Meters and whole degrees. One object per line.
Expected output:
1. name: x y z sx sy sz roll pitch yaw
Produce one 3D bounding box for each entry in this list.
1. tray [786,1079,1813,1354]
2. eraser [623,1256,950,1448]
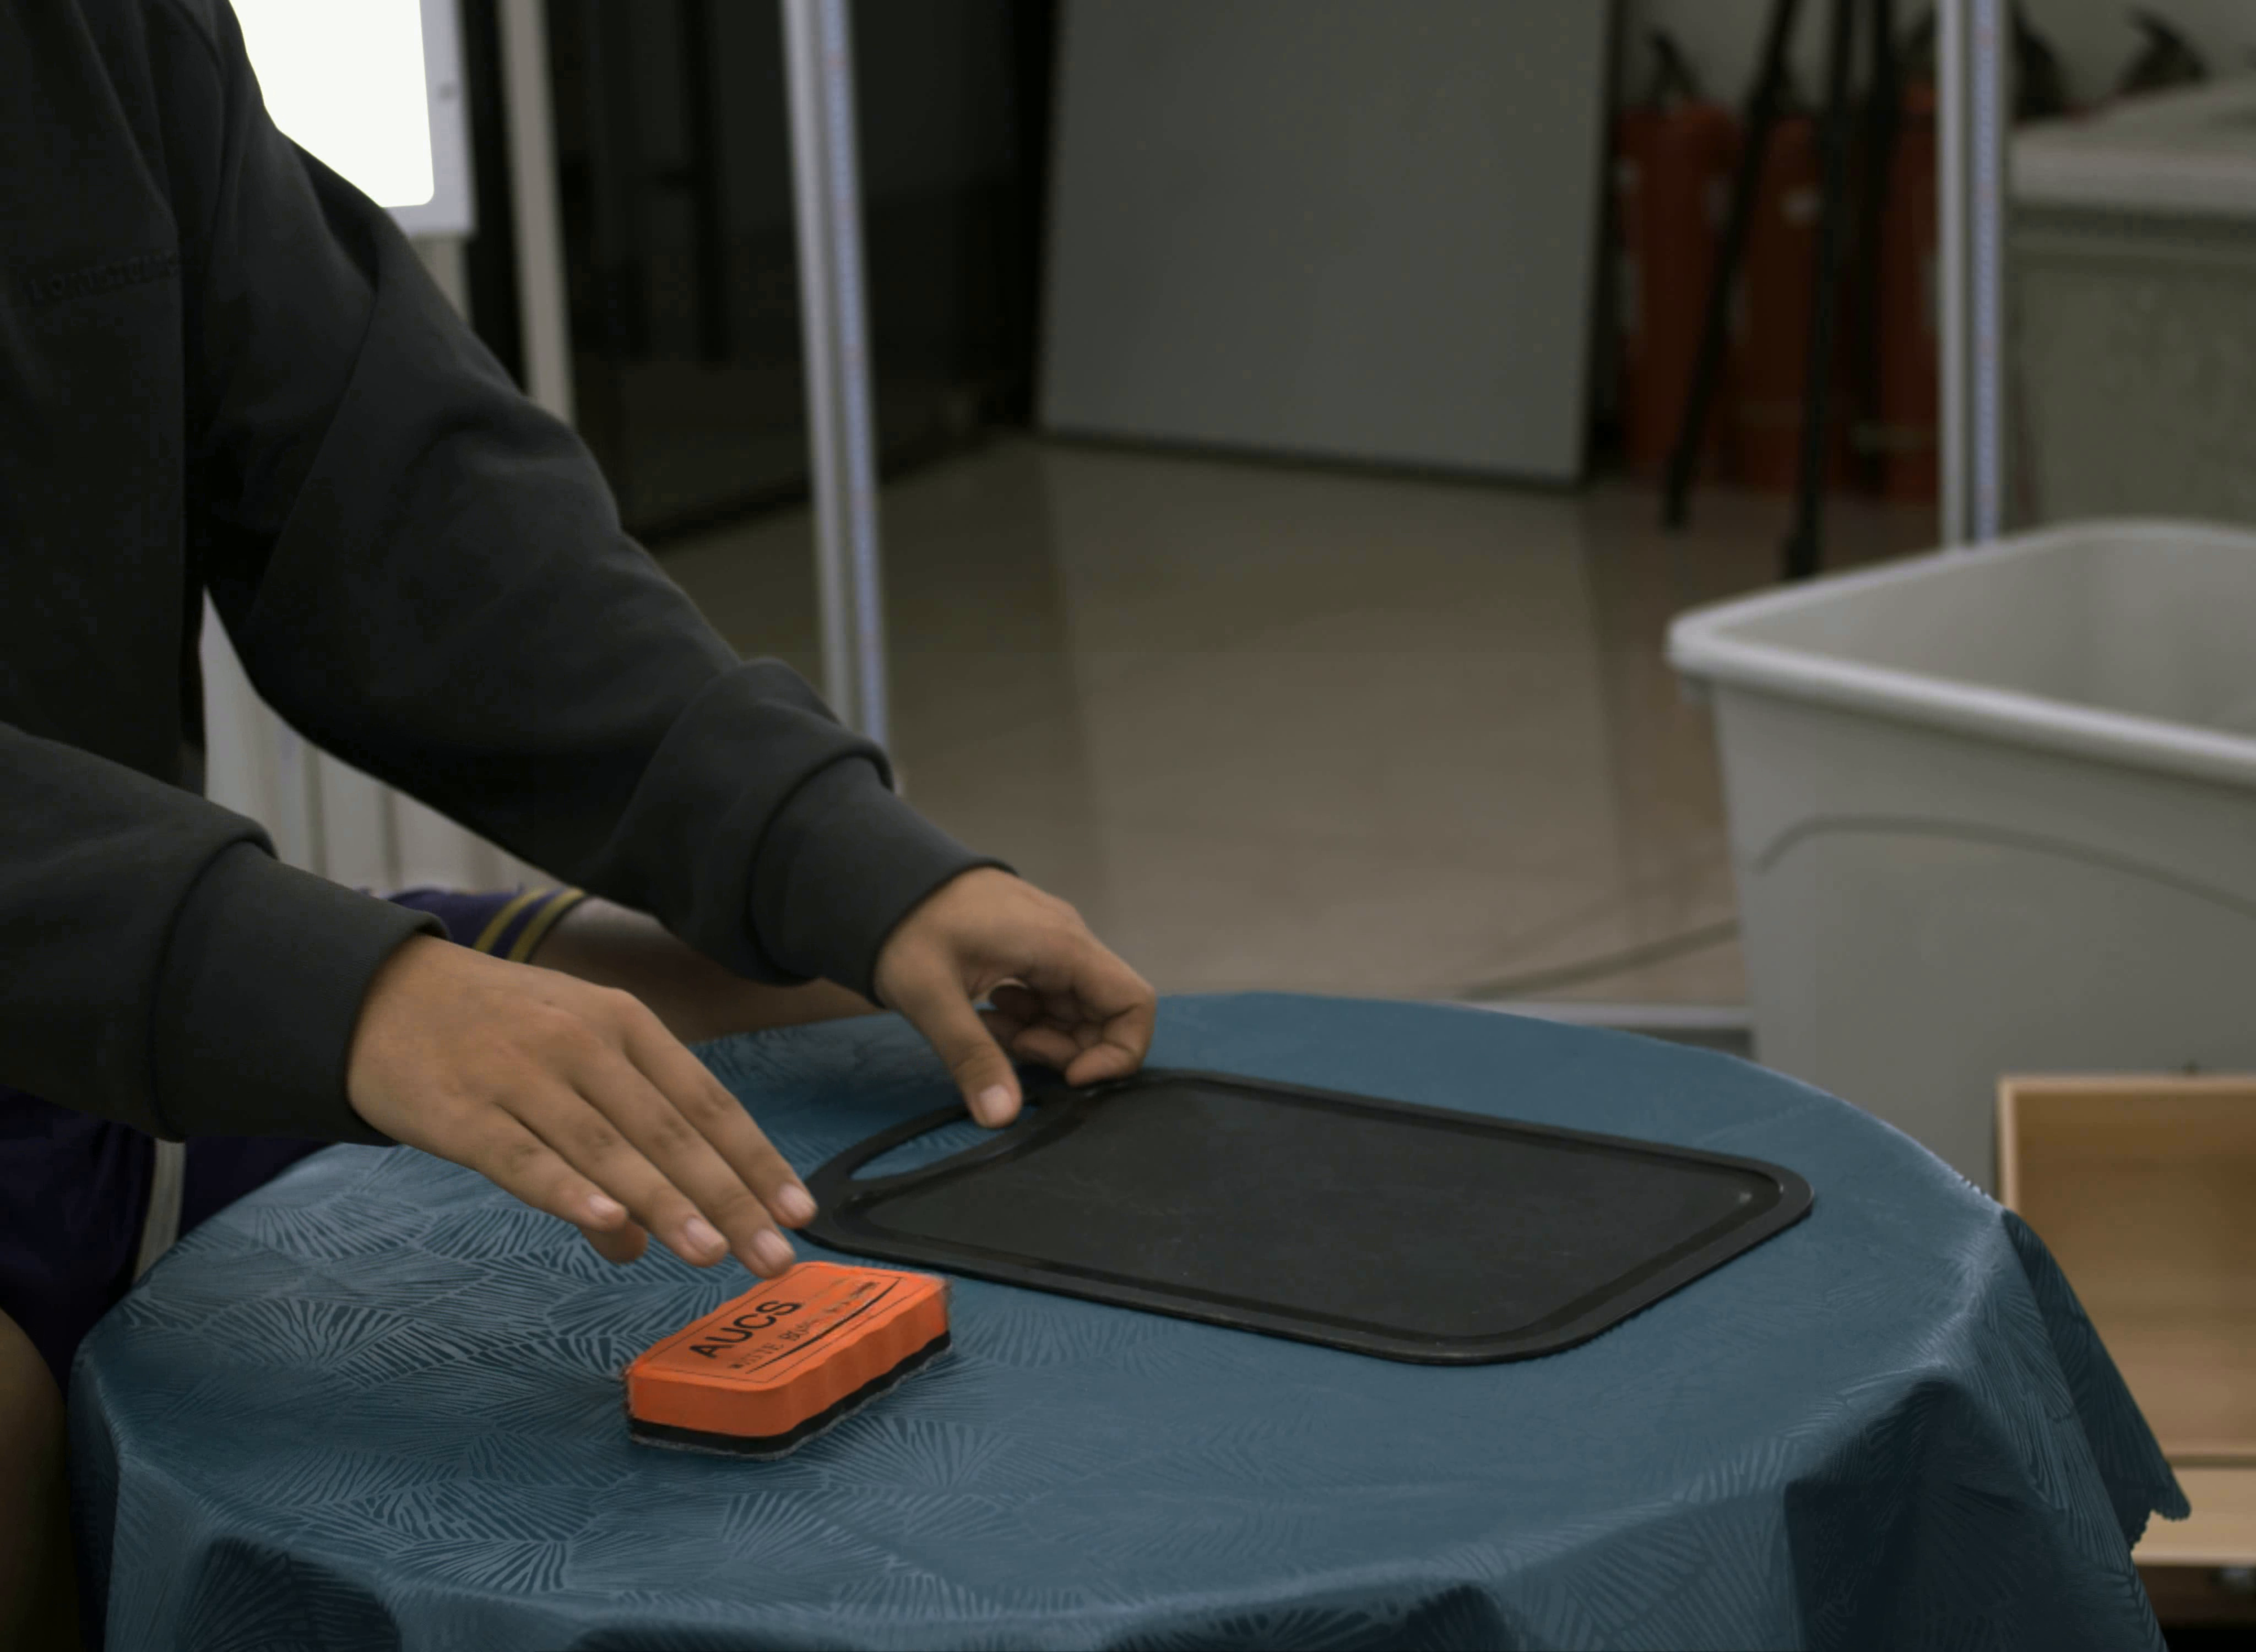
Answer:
1. tray: 0.046 0.121 1.743 0.328 0.010 0.207 7 17 38
2. eraser: -0.100 0.155 1.597 0.059 0.023 0.106 5 15 29
